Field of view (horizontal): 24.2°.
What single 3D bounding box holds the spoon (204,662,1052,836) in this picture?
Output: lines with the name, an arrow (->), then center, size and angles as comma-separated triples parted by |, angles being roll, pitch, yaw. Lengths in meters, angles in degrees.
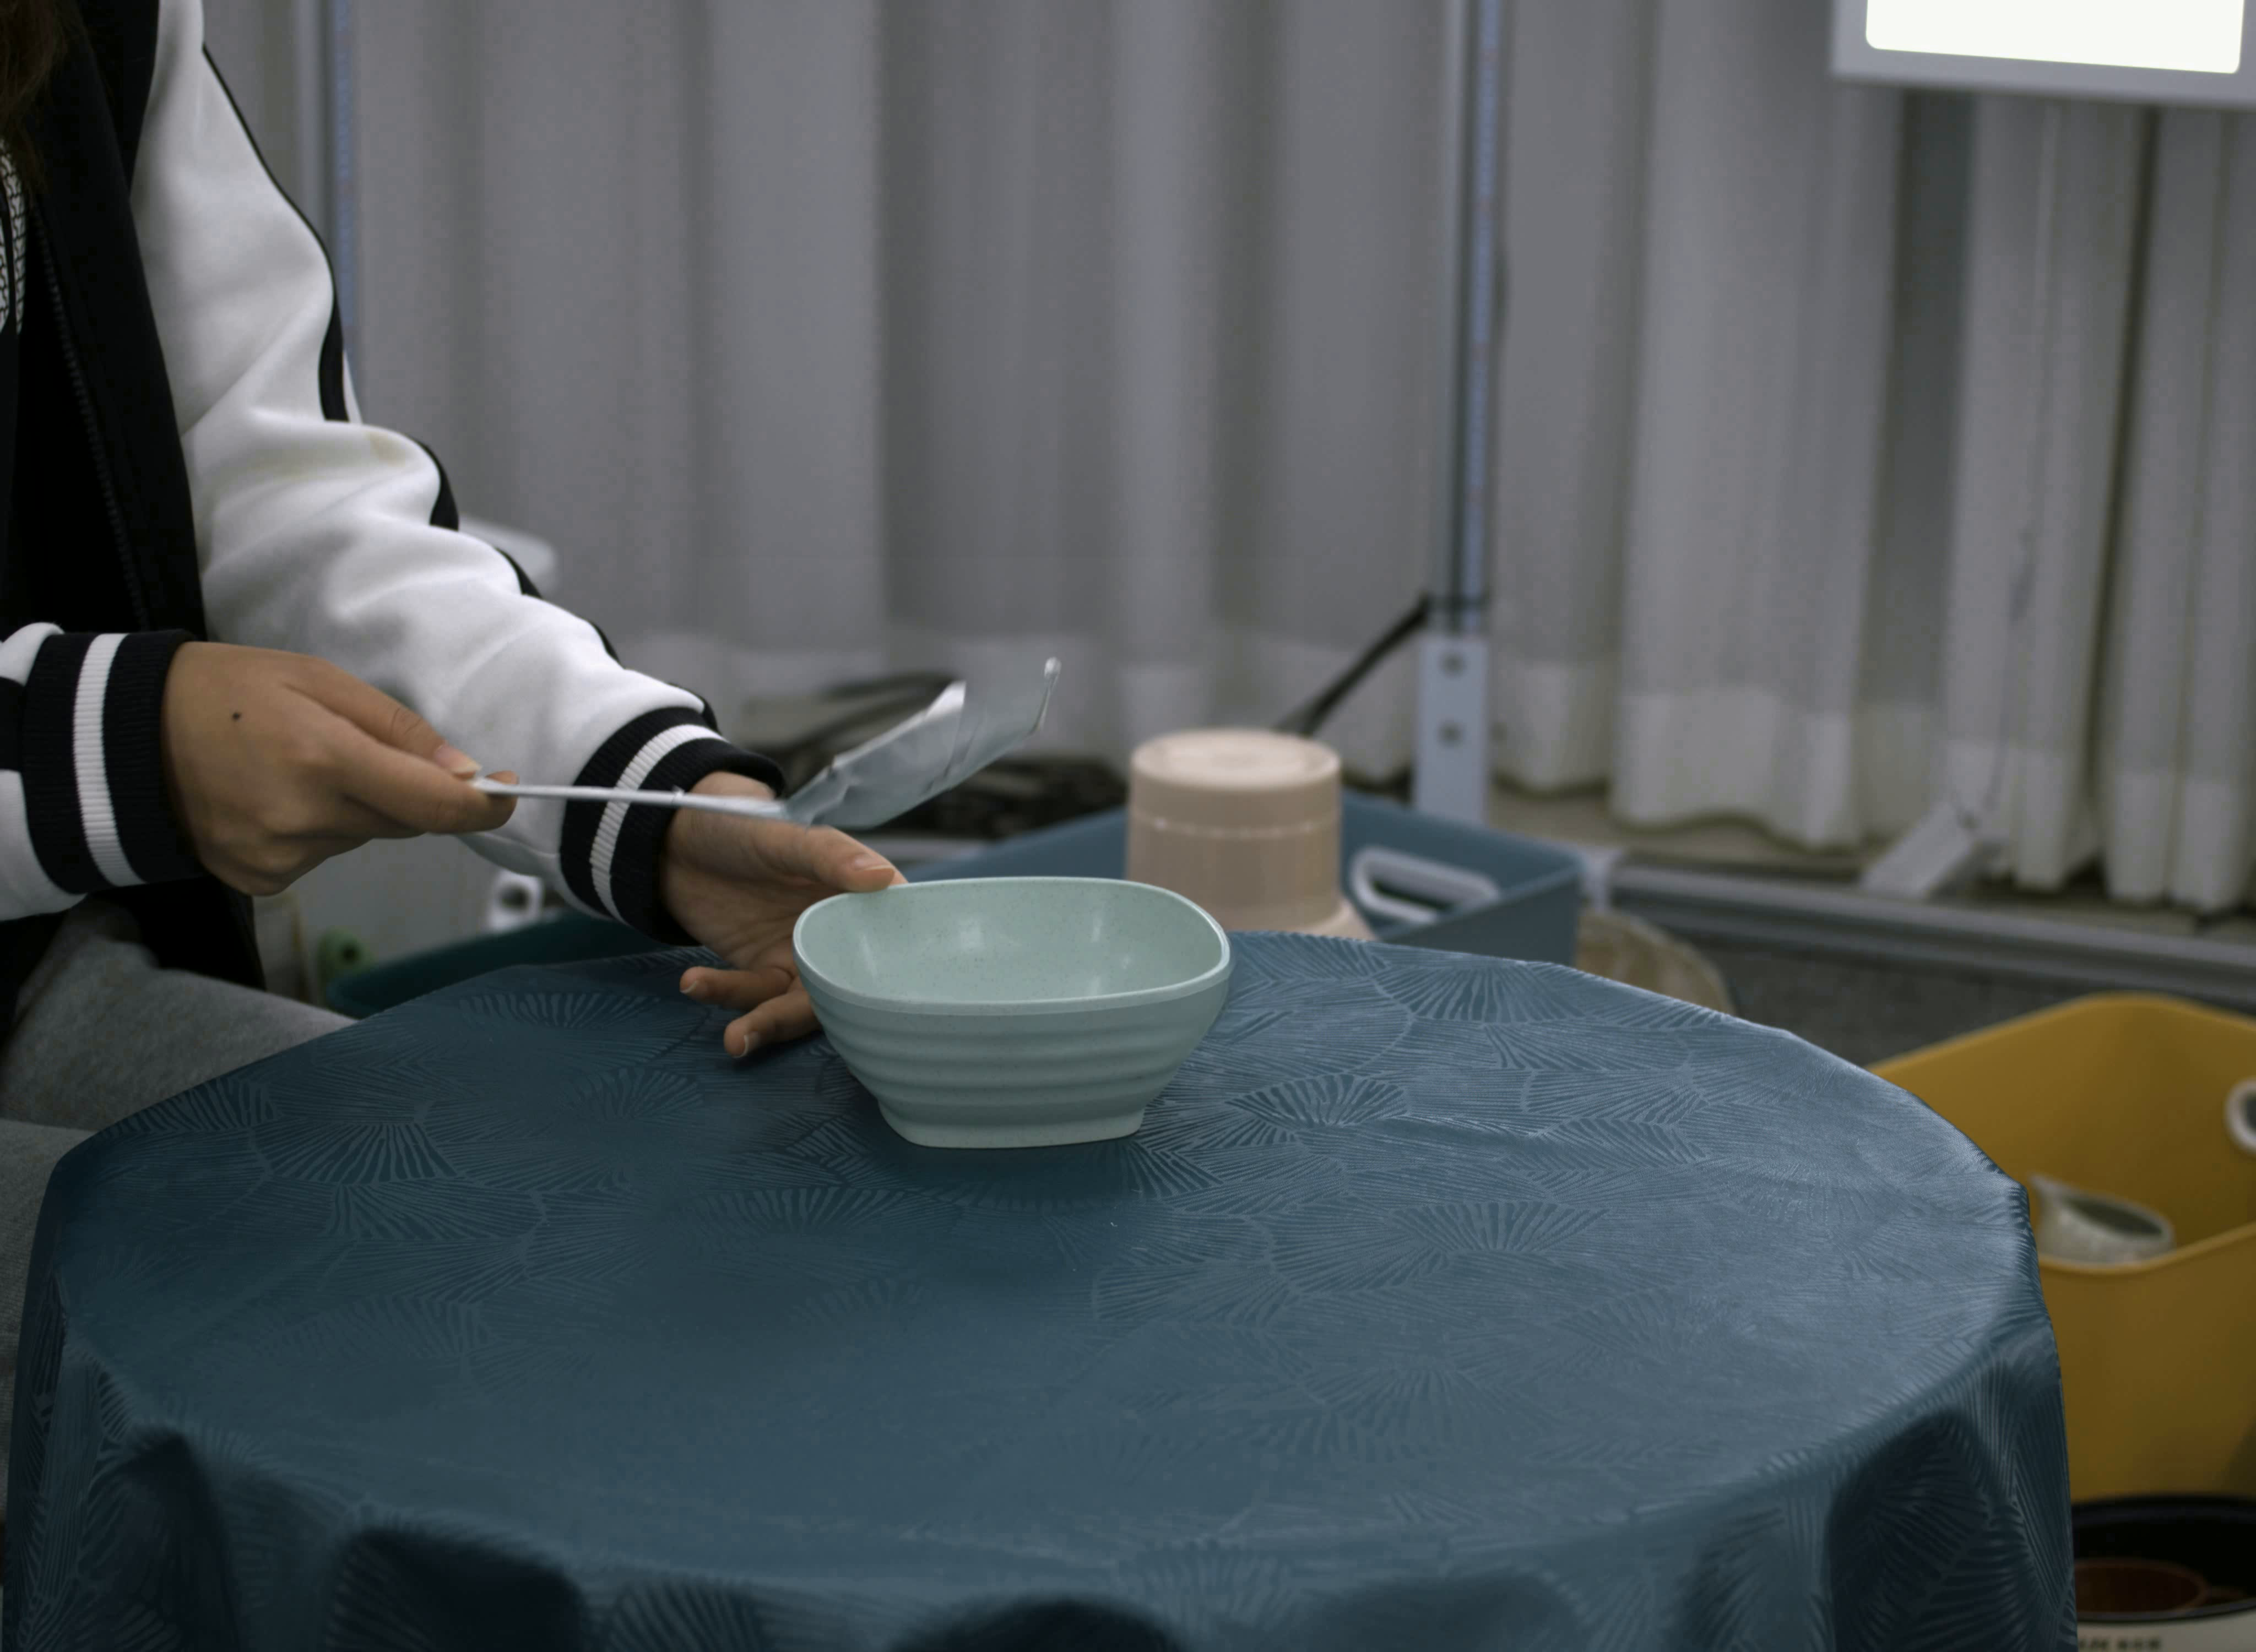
spoon -> -0.156, -0.034, 1.605 | 0.275, 0.059, 0.101 | 7, 5, 19

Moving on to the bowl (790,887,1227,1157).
bowl -> -0.038, 0.066, 1.690 | 0.151, 0.059, 0.150 | 0, 15, 0
